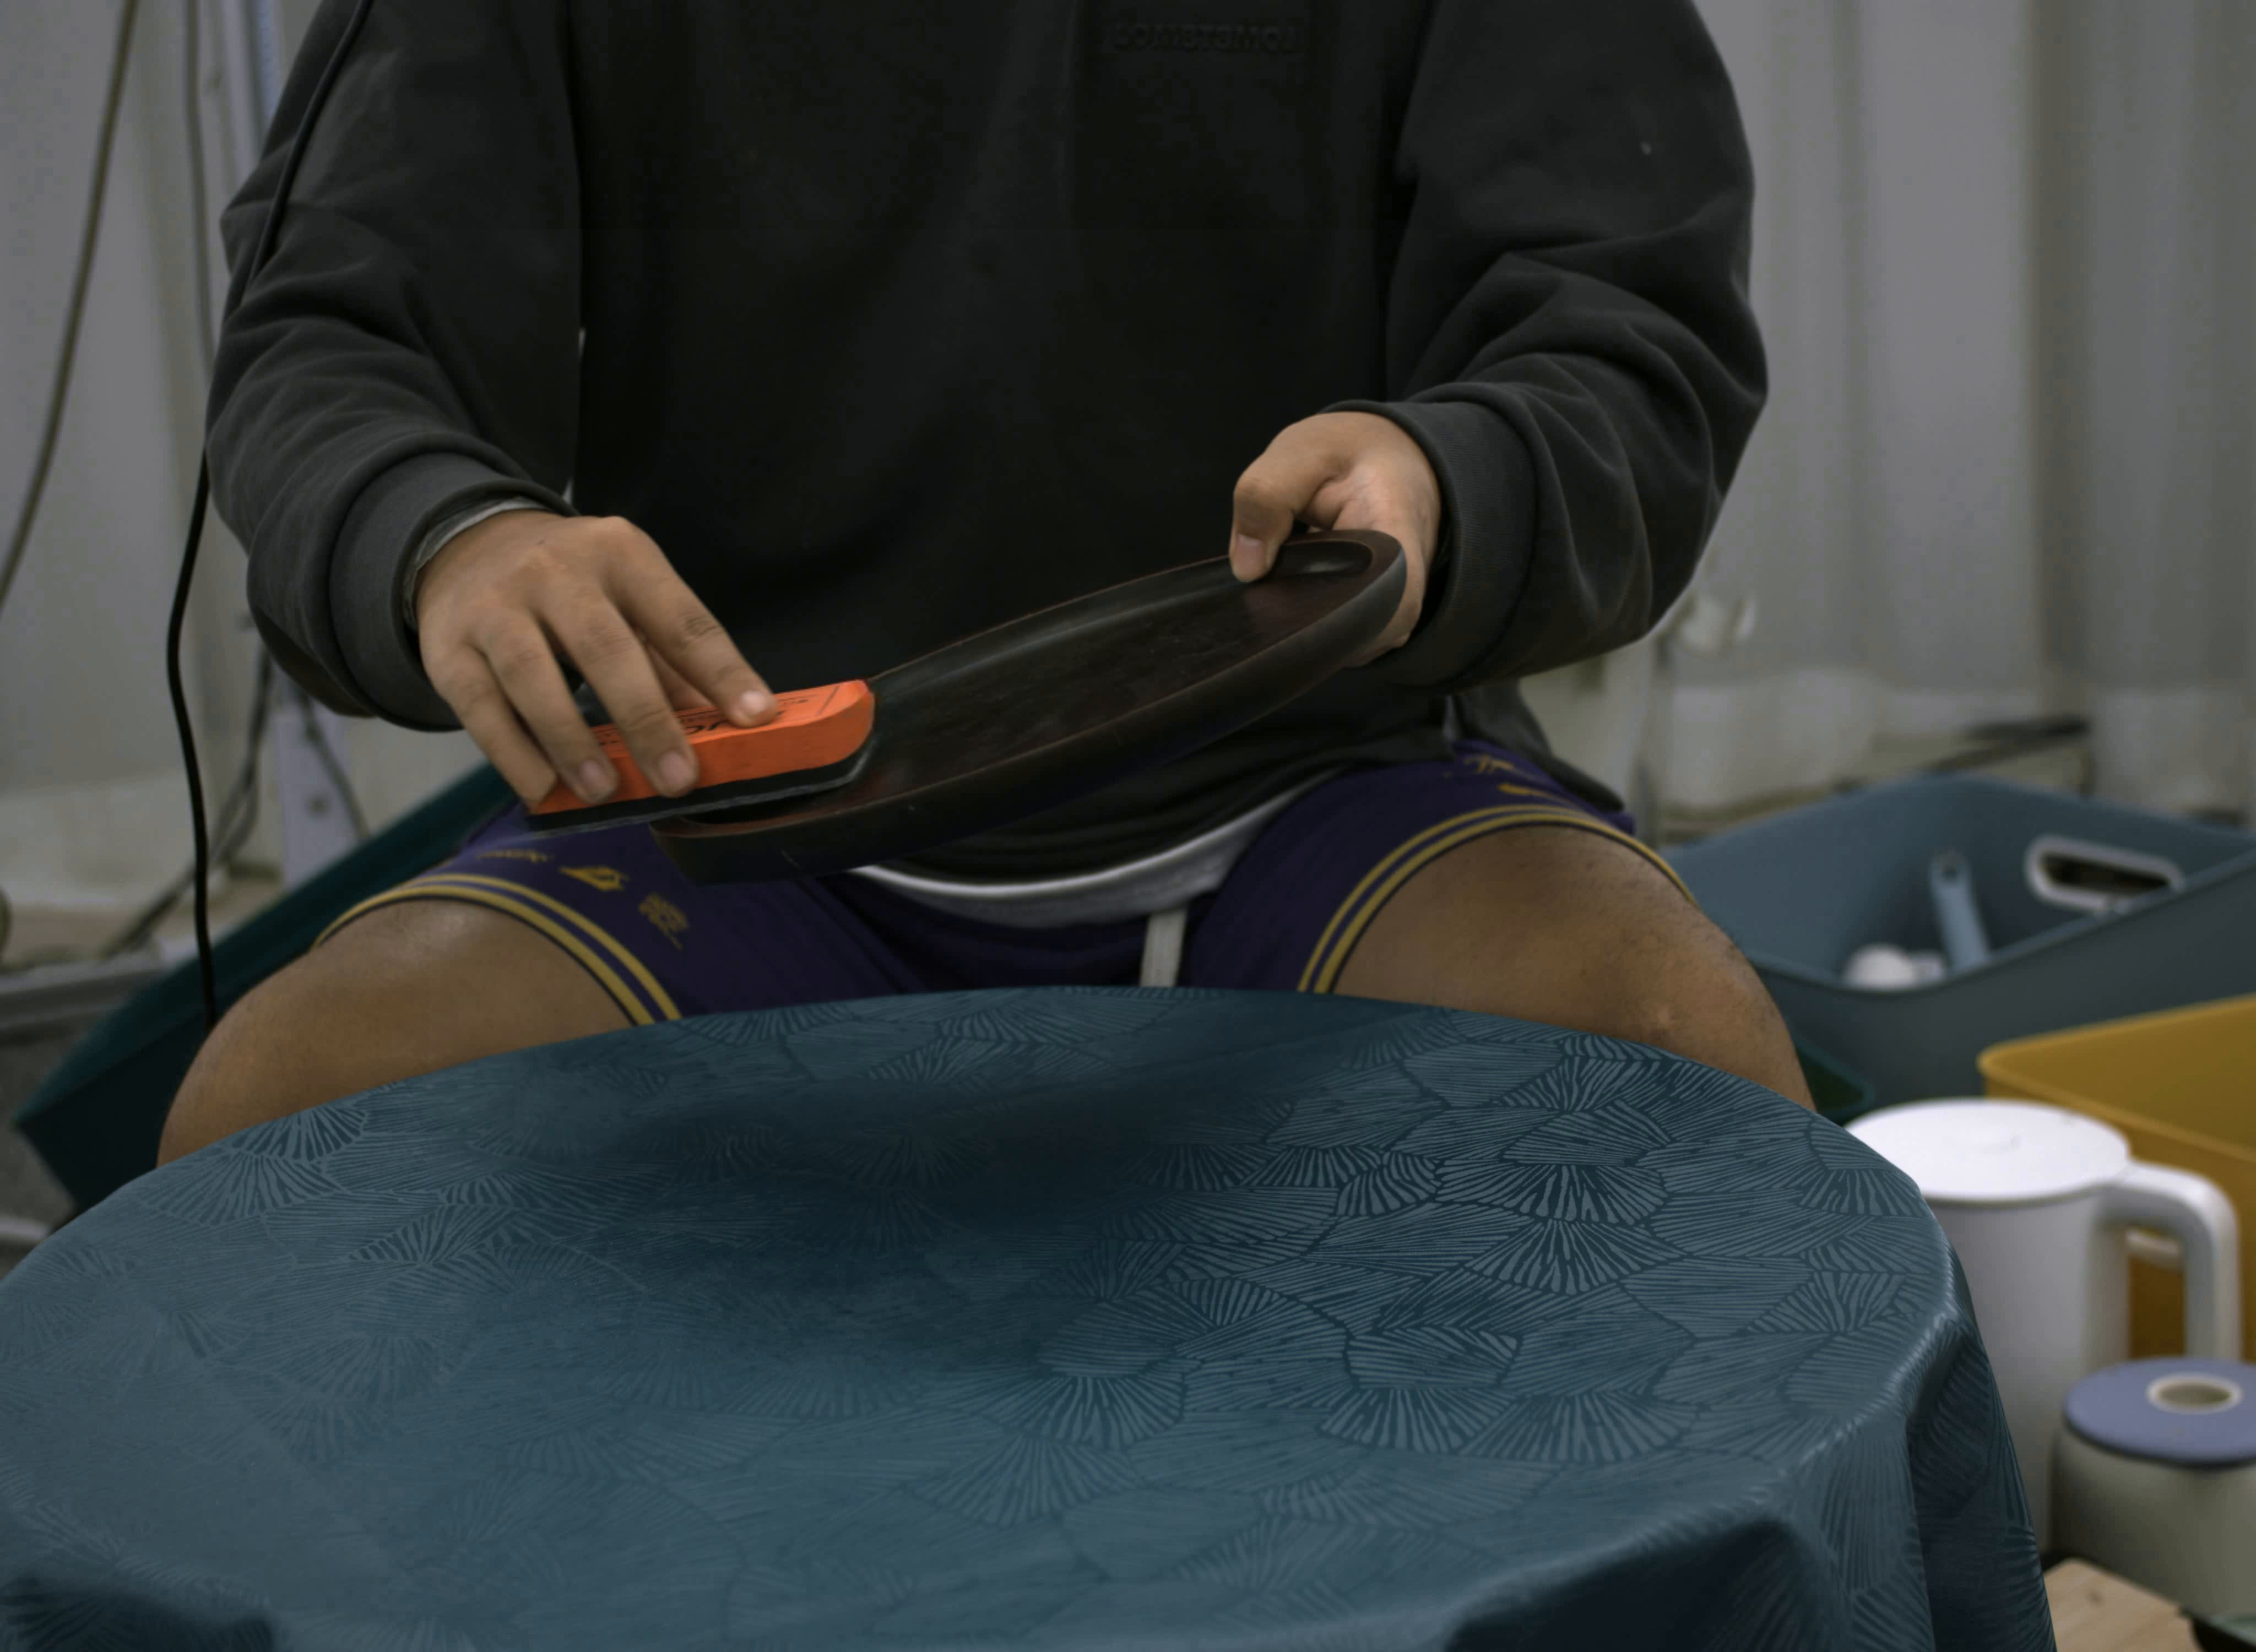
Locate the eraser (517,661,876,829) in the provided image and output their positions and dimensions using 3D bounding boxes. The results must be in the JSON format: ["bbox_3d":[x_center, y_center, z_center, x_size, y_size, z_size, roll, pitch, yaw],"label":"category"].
[{"bbox_3d":[-0.136,-0.026,1.729,0.108,0.023,0.059,-10,16,7],"label":"eraser"}]

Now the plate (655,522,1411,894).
[{"bbox_3d":[-0.028,-0.037,1.717,0.254,0.029,0.256,-21,11,4],"label":"plate"}]
